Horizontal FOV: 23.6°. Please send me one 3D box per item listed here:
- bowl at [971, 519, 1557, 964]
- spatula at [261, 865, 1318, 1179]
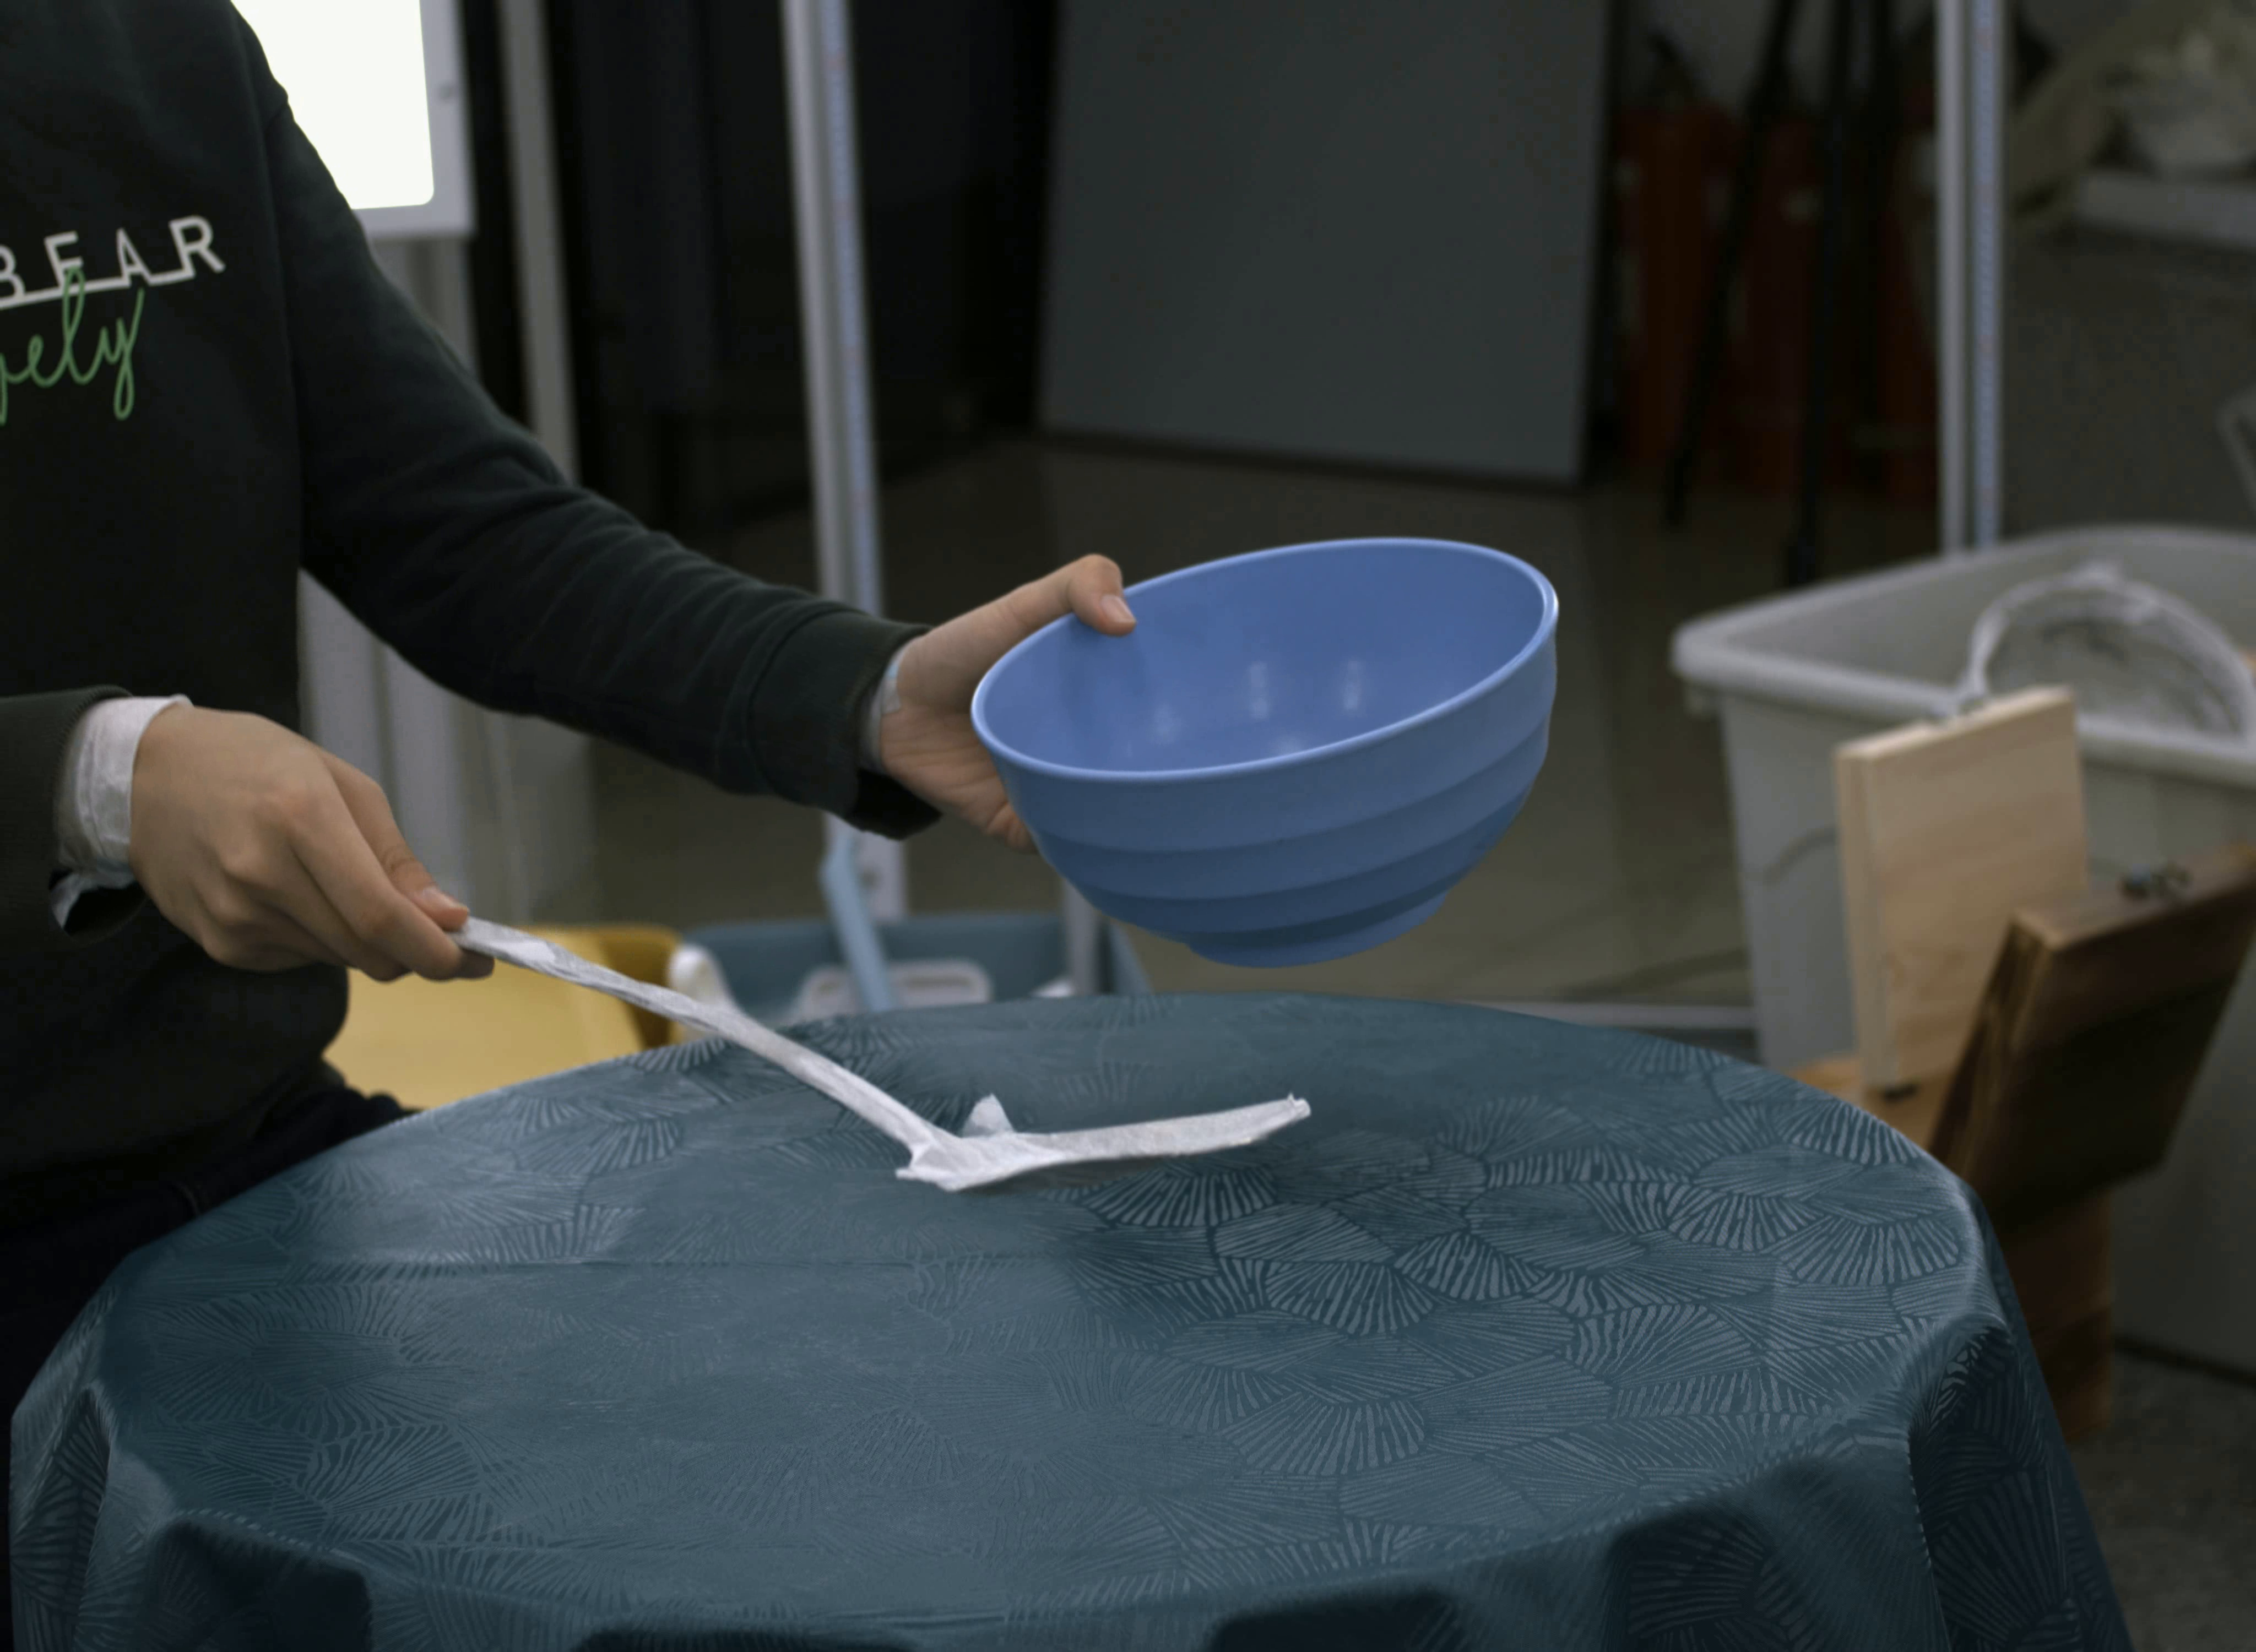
[{"bbox_3d":[0.052,-0.018,1.768,0.194,0.096,0.197,-11,23,4],"label":"bowl"},{"bbox_3d":[-0.113,0.045,1.492,0.367,0.045,0.097,19,19,34],"label":"spatula"}]
